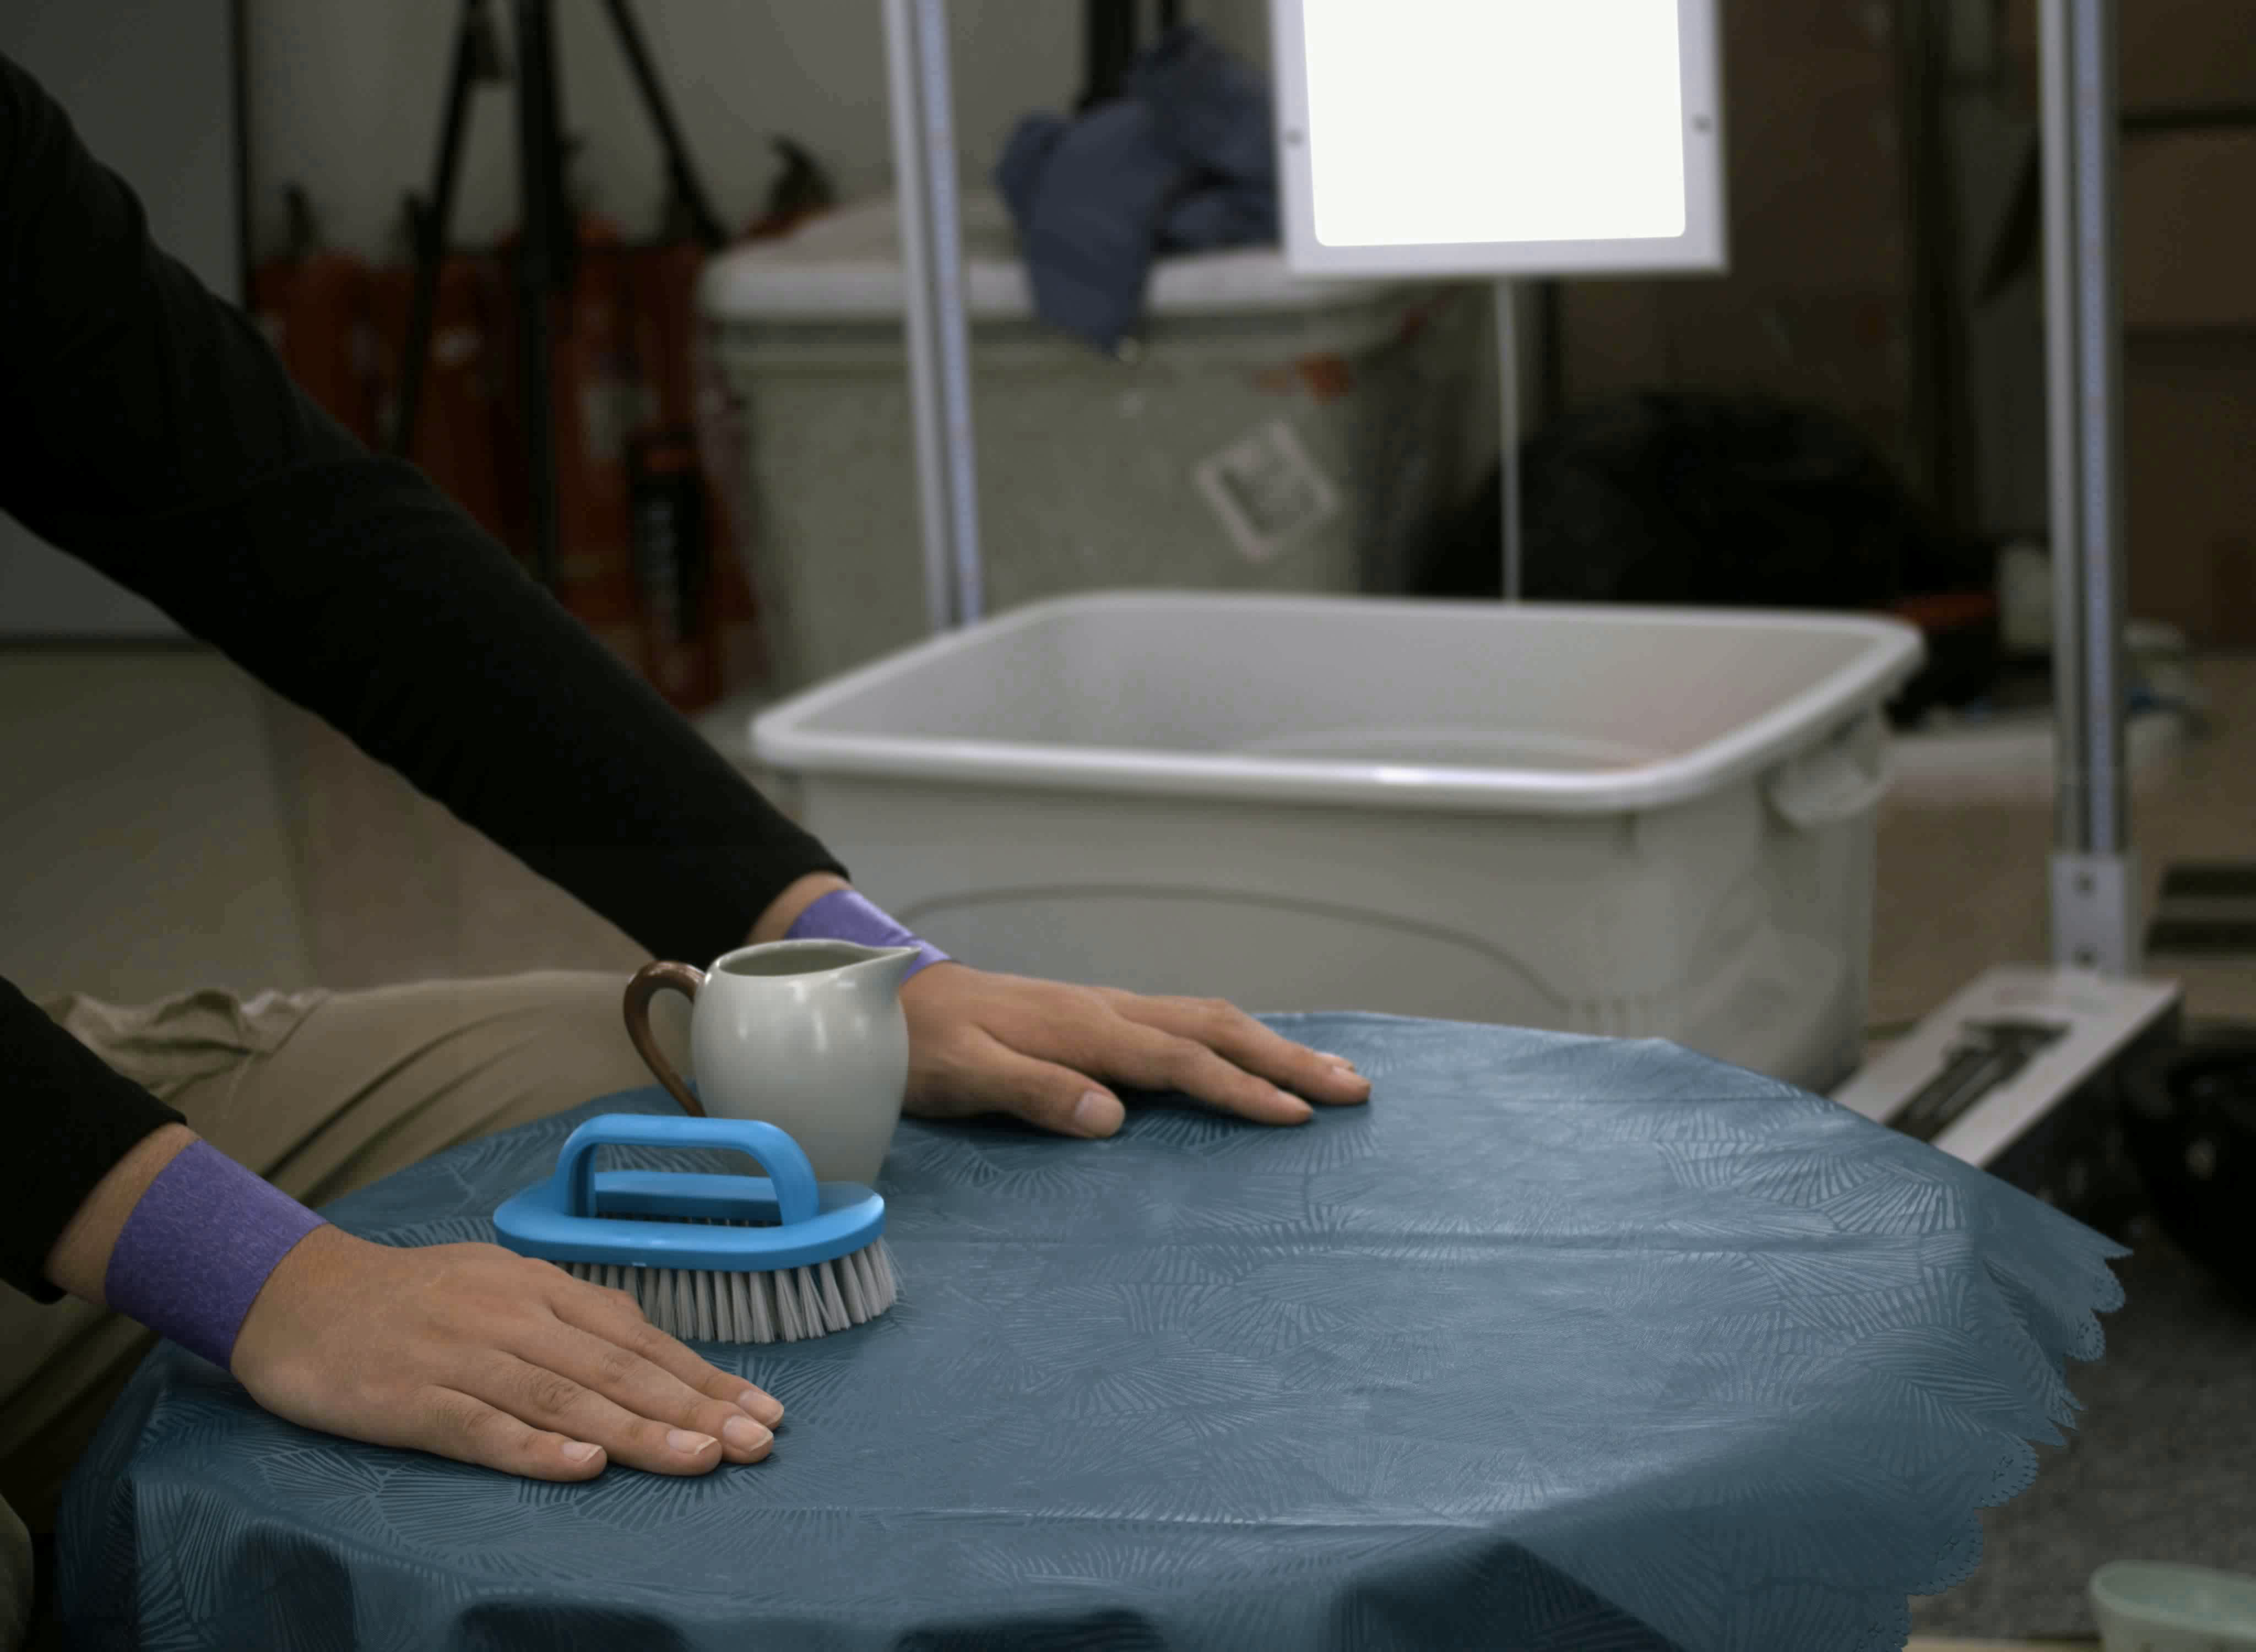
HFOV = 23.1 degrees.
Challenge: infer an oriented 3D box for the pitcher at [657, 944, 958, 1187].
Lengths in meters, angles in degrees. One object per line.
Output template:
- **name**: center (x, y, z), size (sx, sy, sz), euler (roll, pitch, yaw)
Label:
- **pitcher**: center (-0.113, 0.084, 1.927), size (0.121, 0.088, 0.074), euler (7, 12, 28)

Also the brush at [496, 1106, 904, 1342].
- **brush**: center (-0.145, 0.124, 1.819), size (0.144, 0.064, 0.082), euler (1, 19, 27)
